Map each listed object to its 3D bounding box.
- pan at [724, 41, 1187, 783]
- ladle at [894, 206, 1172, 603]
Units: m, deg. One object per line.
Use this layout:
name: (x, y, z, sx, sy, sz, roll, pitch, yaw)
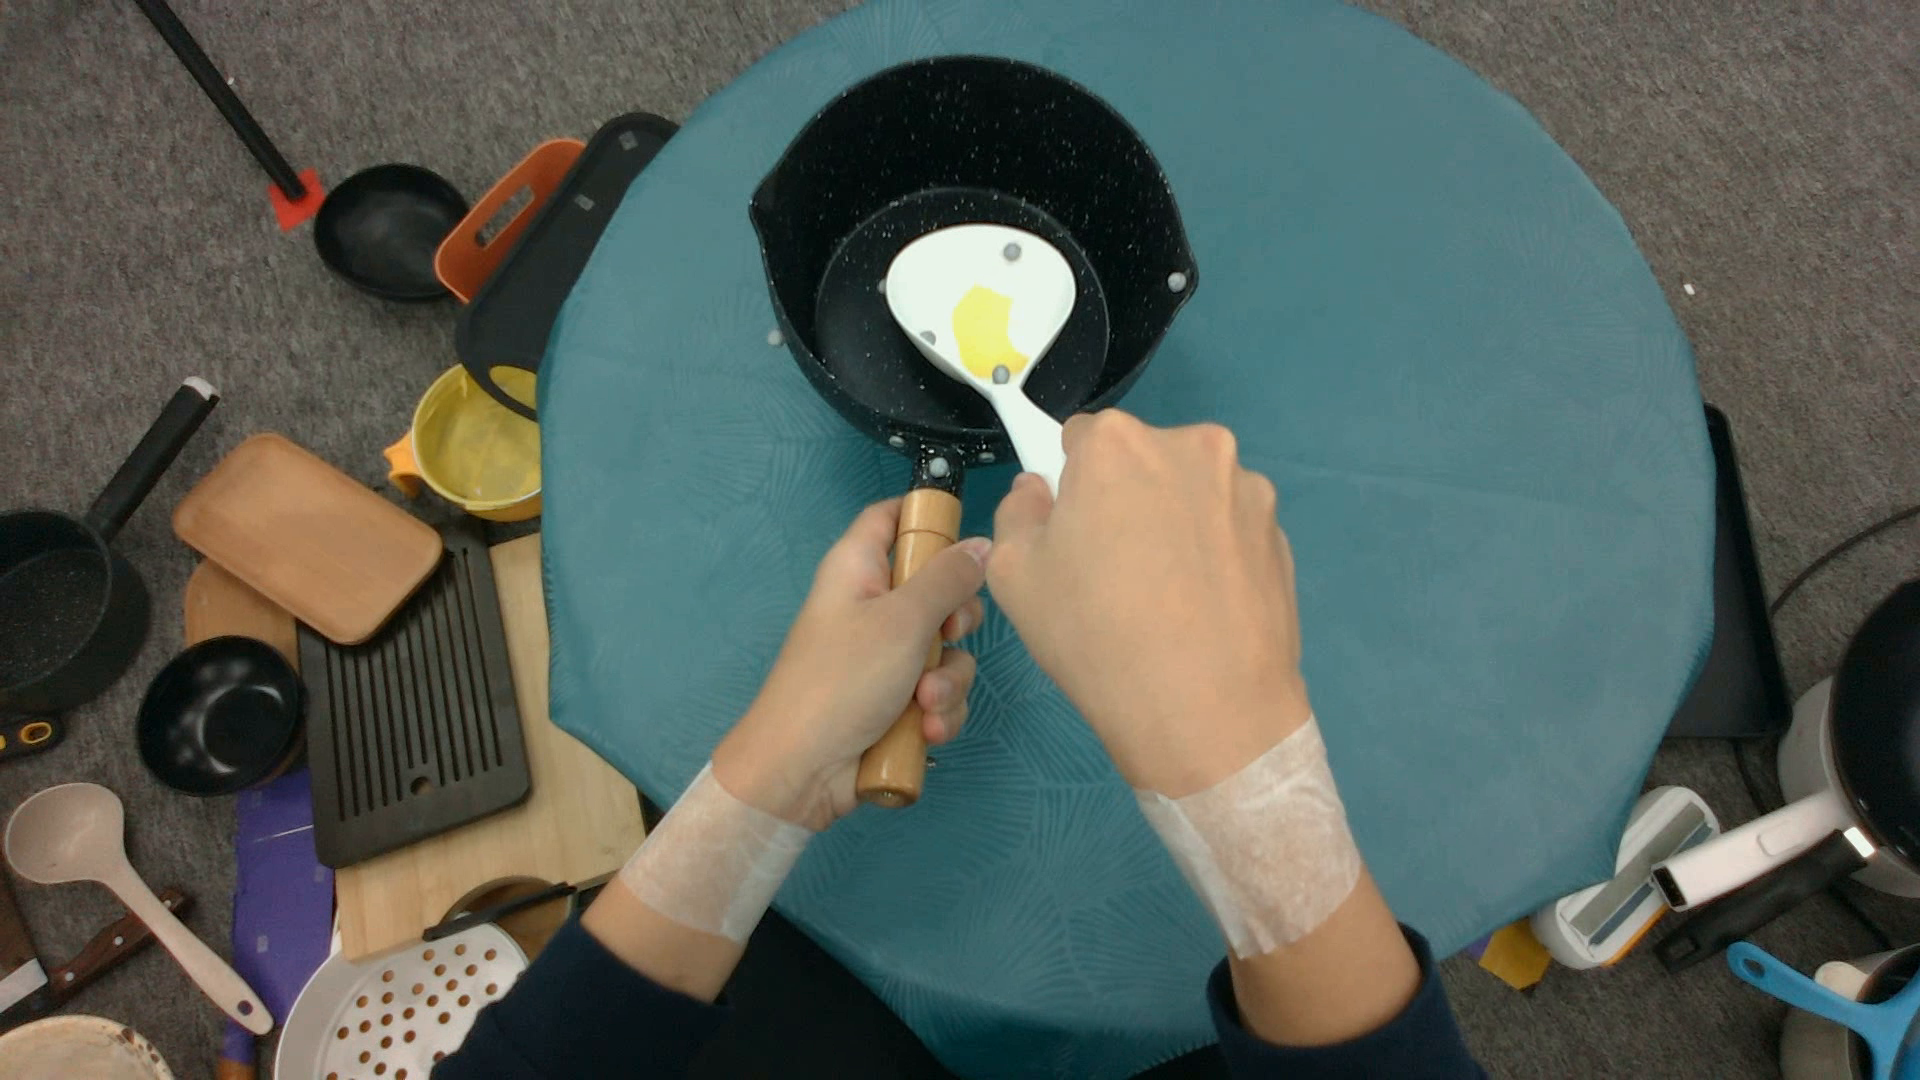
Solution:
pan: (-0.012, -0.057, 0.608, 0.207, 0.108, 0.344, 8, 70, -3)
ladle: (0.030, -0.071, 0.553, 0.090, 0.294, 0.069, 3, 113, -11)
